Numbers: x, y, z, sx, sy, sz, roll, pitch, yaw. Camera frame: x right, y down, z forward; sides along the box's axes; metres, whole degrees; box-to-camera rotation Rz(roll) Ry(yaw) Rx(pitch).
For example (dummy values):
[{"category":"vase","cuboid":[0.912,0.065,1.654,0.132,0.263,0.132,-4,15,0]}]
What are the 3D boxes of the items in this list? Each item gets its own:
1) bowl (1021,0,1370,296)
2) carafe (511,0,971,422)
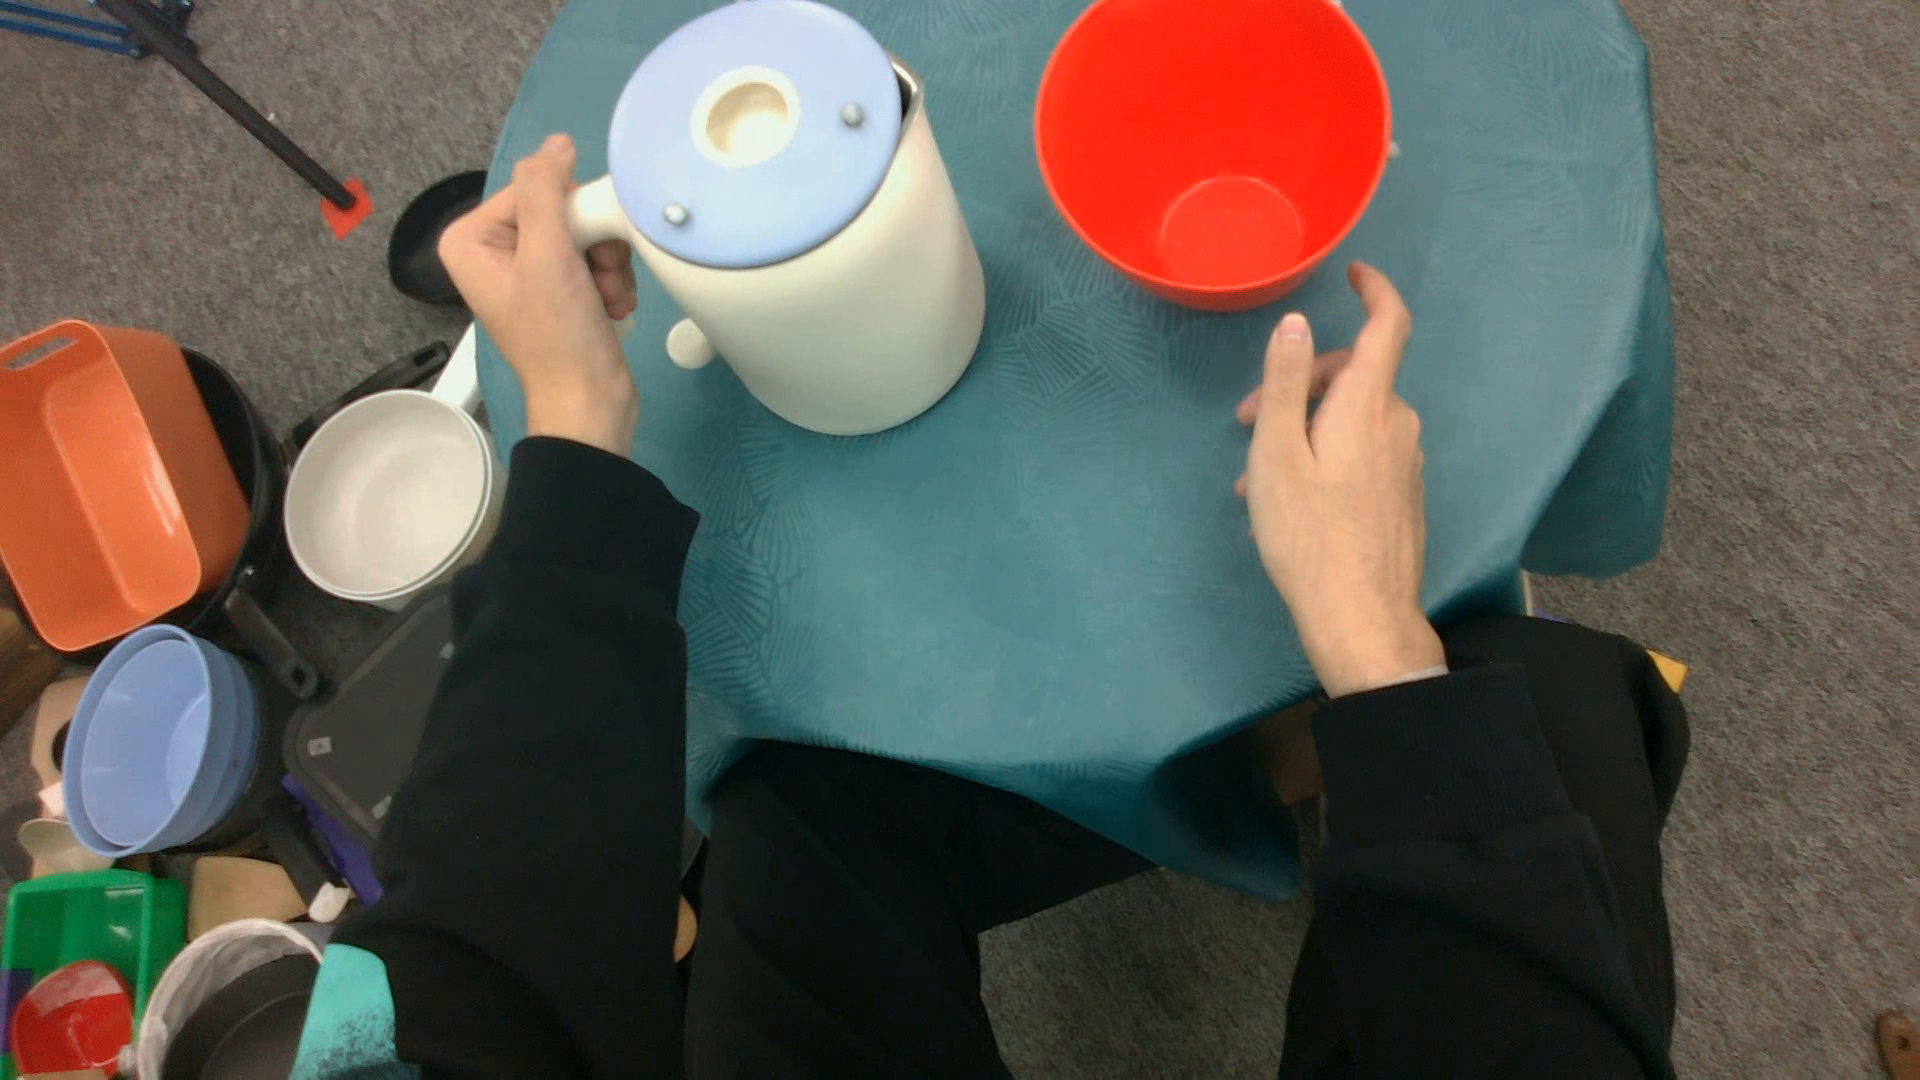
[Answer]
[{"category":"bowl","cuboid":[0.107,-0.173,0.624,0.148,0.104,0.148,-3,72,10]},{"category":"carafe","cuboid":[-0.096,-0.135,0.613,0.191,0.182,0.132,-16,70,8]}]
